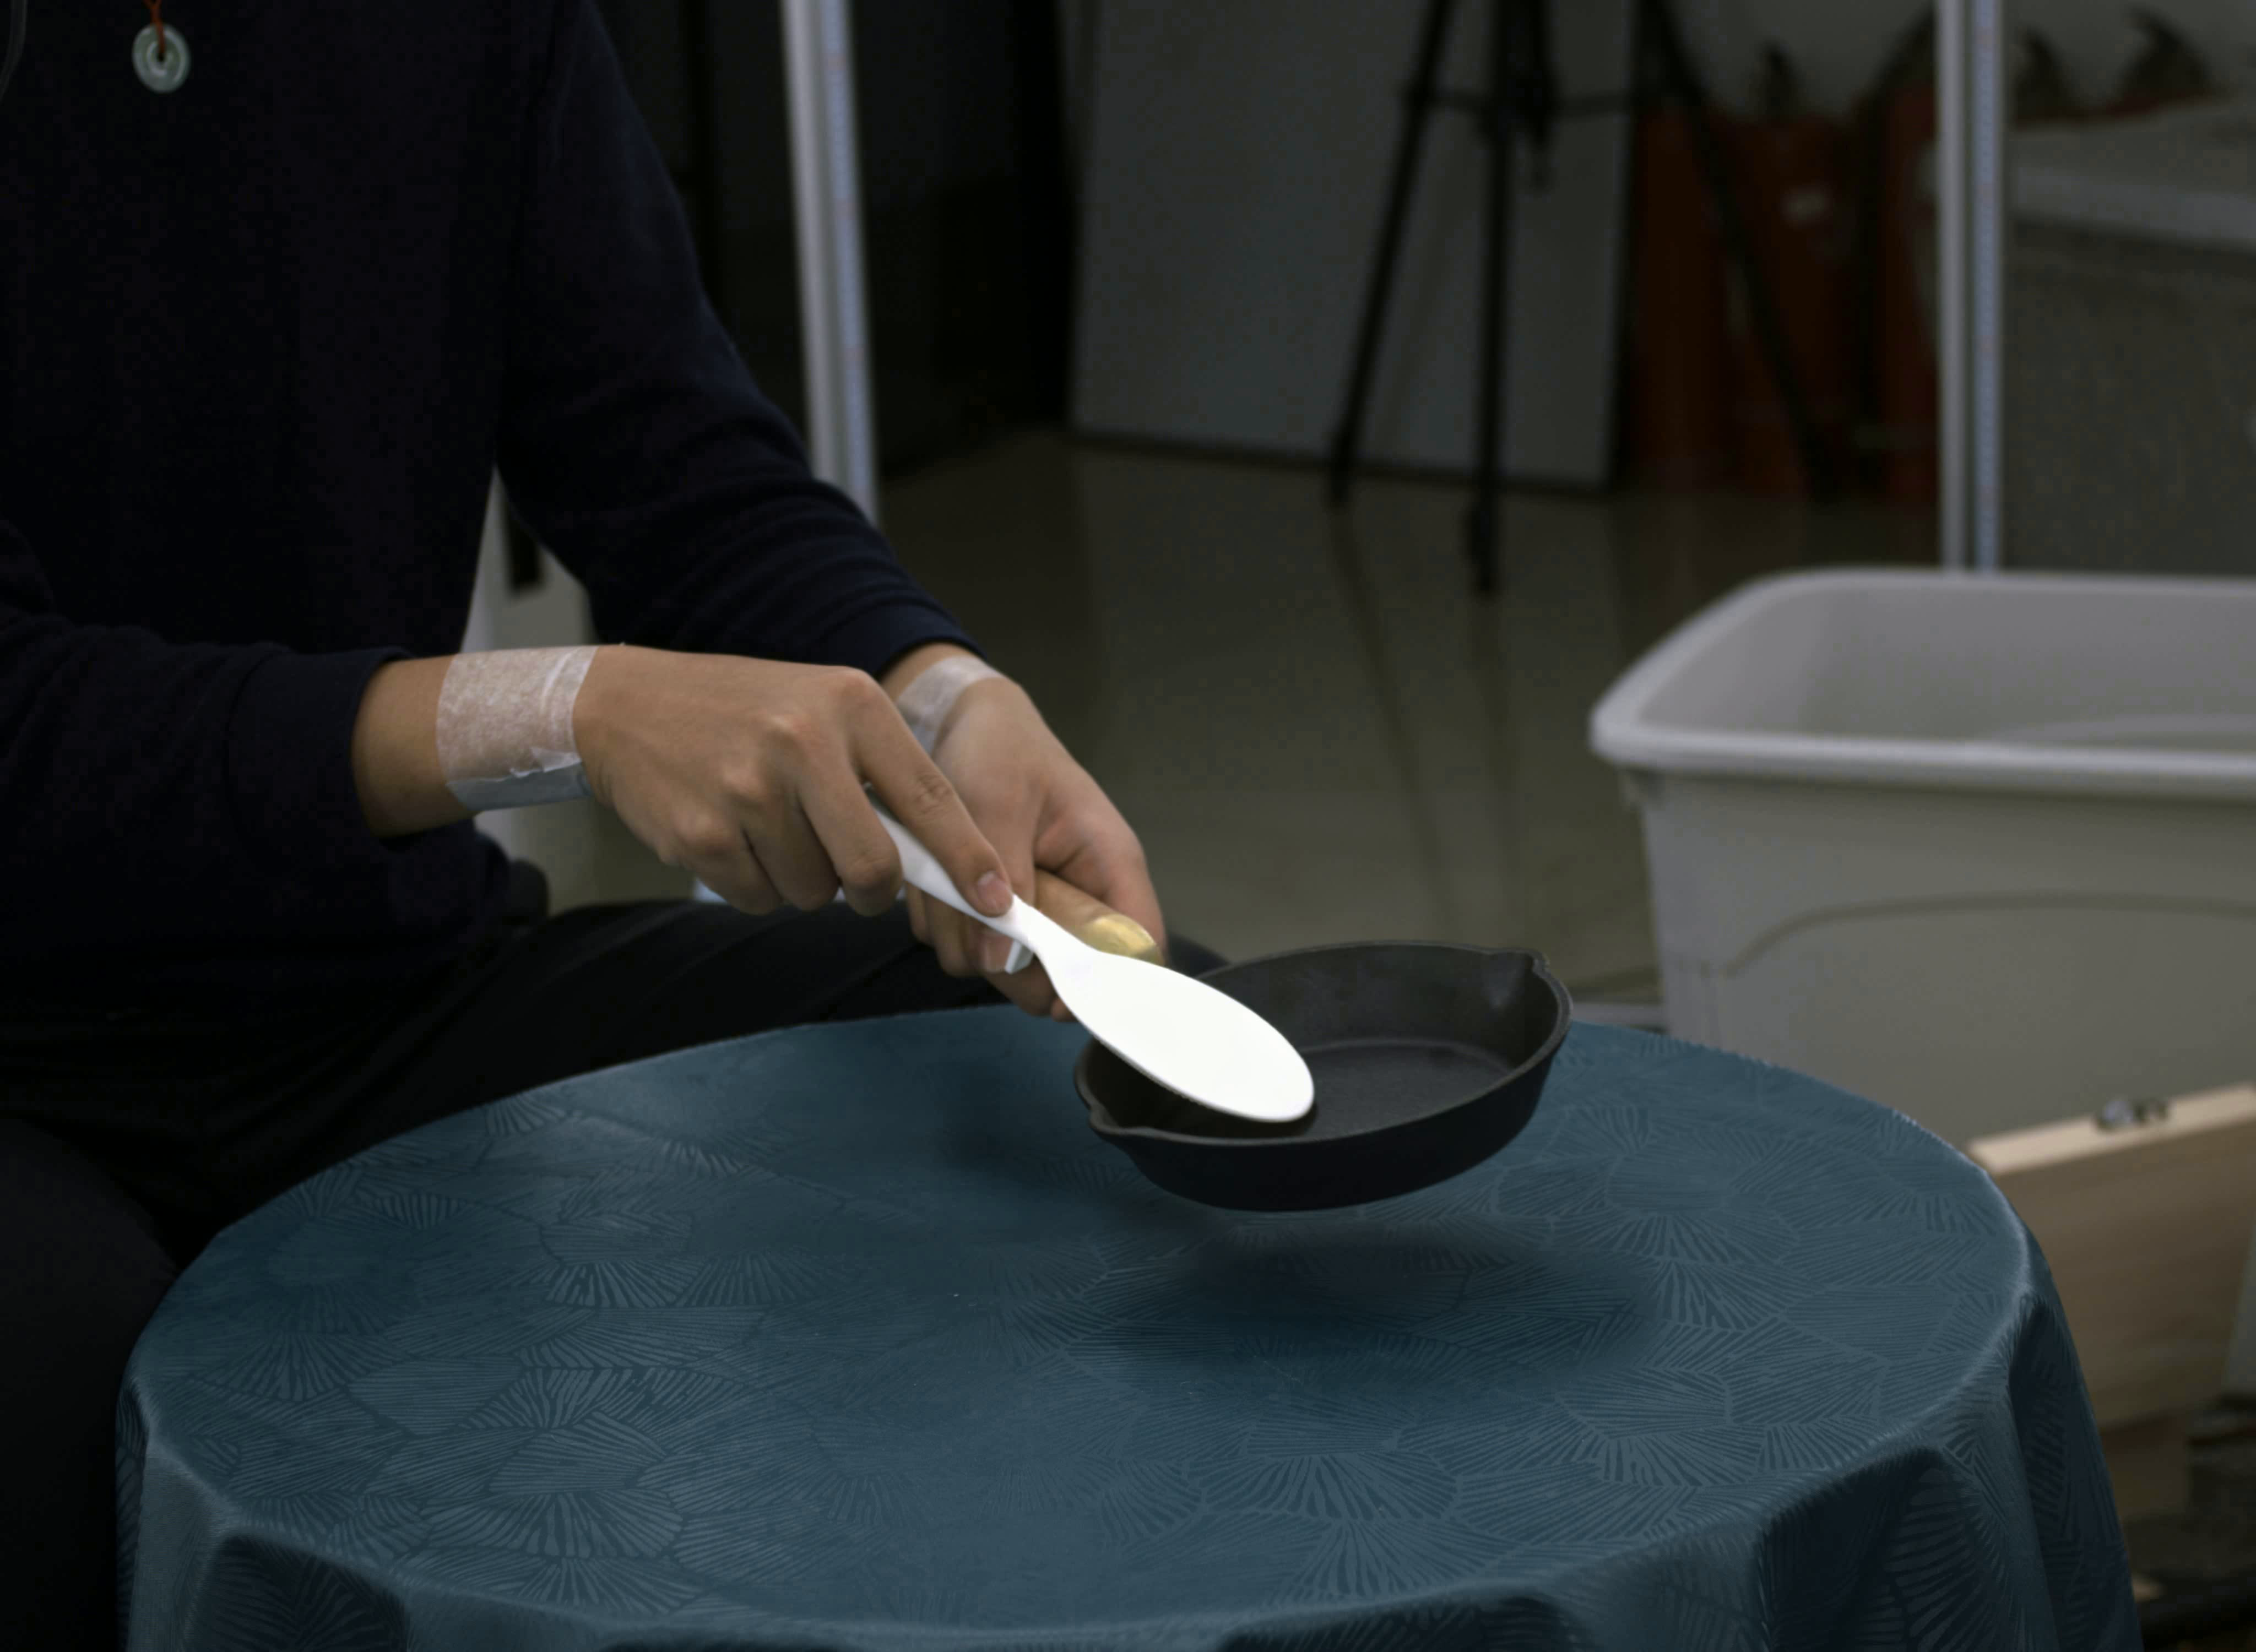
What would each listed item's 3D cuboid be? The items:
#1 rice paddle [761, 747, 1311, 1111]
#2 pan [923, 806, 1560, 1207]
[{"bbox_3d":[-0.028,0.035,1.719,0.206,0.030,0.068,31,29,21],"label":"rice paddle"},{"bbox_3d":[0.016,0.052,1.748,0.165,0.050,0.328,-19,22,-25],"label":"pan"}]
